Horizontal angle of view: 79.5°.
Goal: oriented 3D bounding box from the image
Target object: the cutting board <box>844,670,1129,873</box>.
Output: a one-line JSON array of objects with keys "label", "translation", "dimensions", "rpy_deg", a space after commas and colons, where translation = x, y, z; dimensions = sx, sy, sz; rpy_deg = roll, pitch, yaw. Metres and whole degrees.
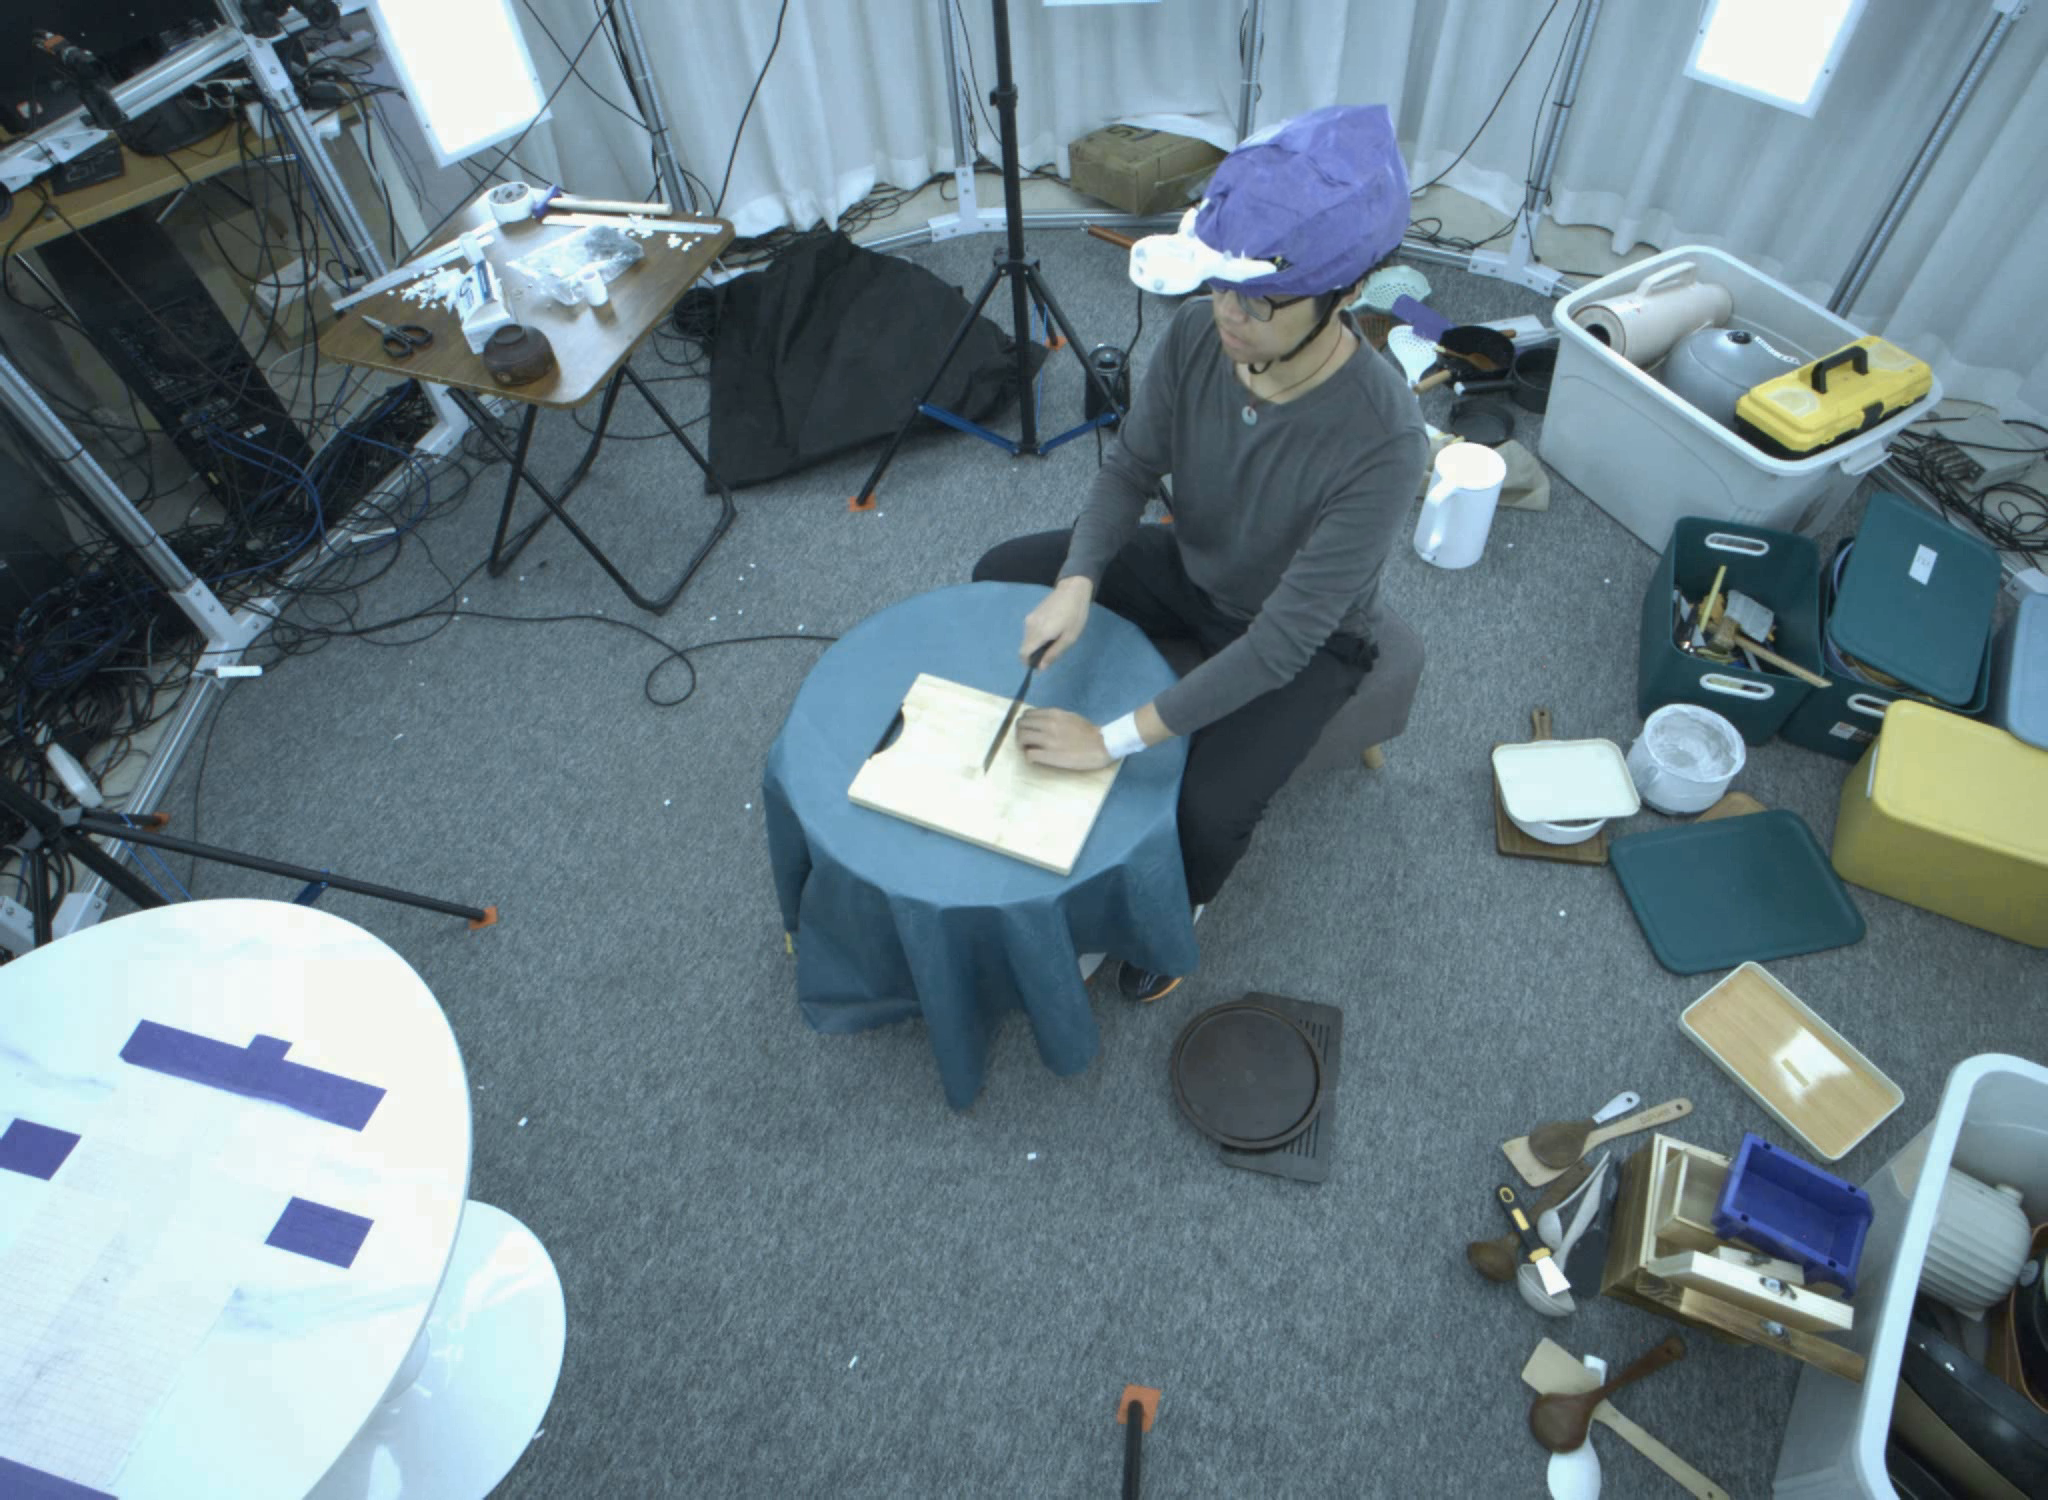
[{"label": "cutting board", "translation": [-0.053, 0.024, 1.769], "dimensions": [0.345, 0.024, 0.250], "rpy_deg": [17, 56, 13]}]

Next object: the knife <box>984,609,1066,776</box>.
[{"label": "knife", "translation": [0.001, -0.090, 1.740], "dimensions": [0.021, 0.081, 0.302], "rpy_deg": [21, 57, 6]}]
